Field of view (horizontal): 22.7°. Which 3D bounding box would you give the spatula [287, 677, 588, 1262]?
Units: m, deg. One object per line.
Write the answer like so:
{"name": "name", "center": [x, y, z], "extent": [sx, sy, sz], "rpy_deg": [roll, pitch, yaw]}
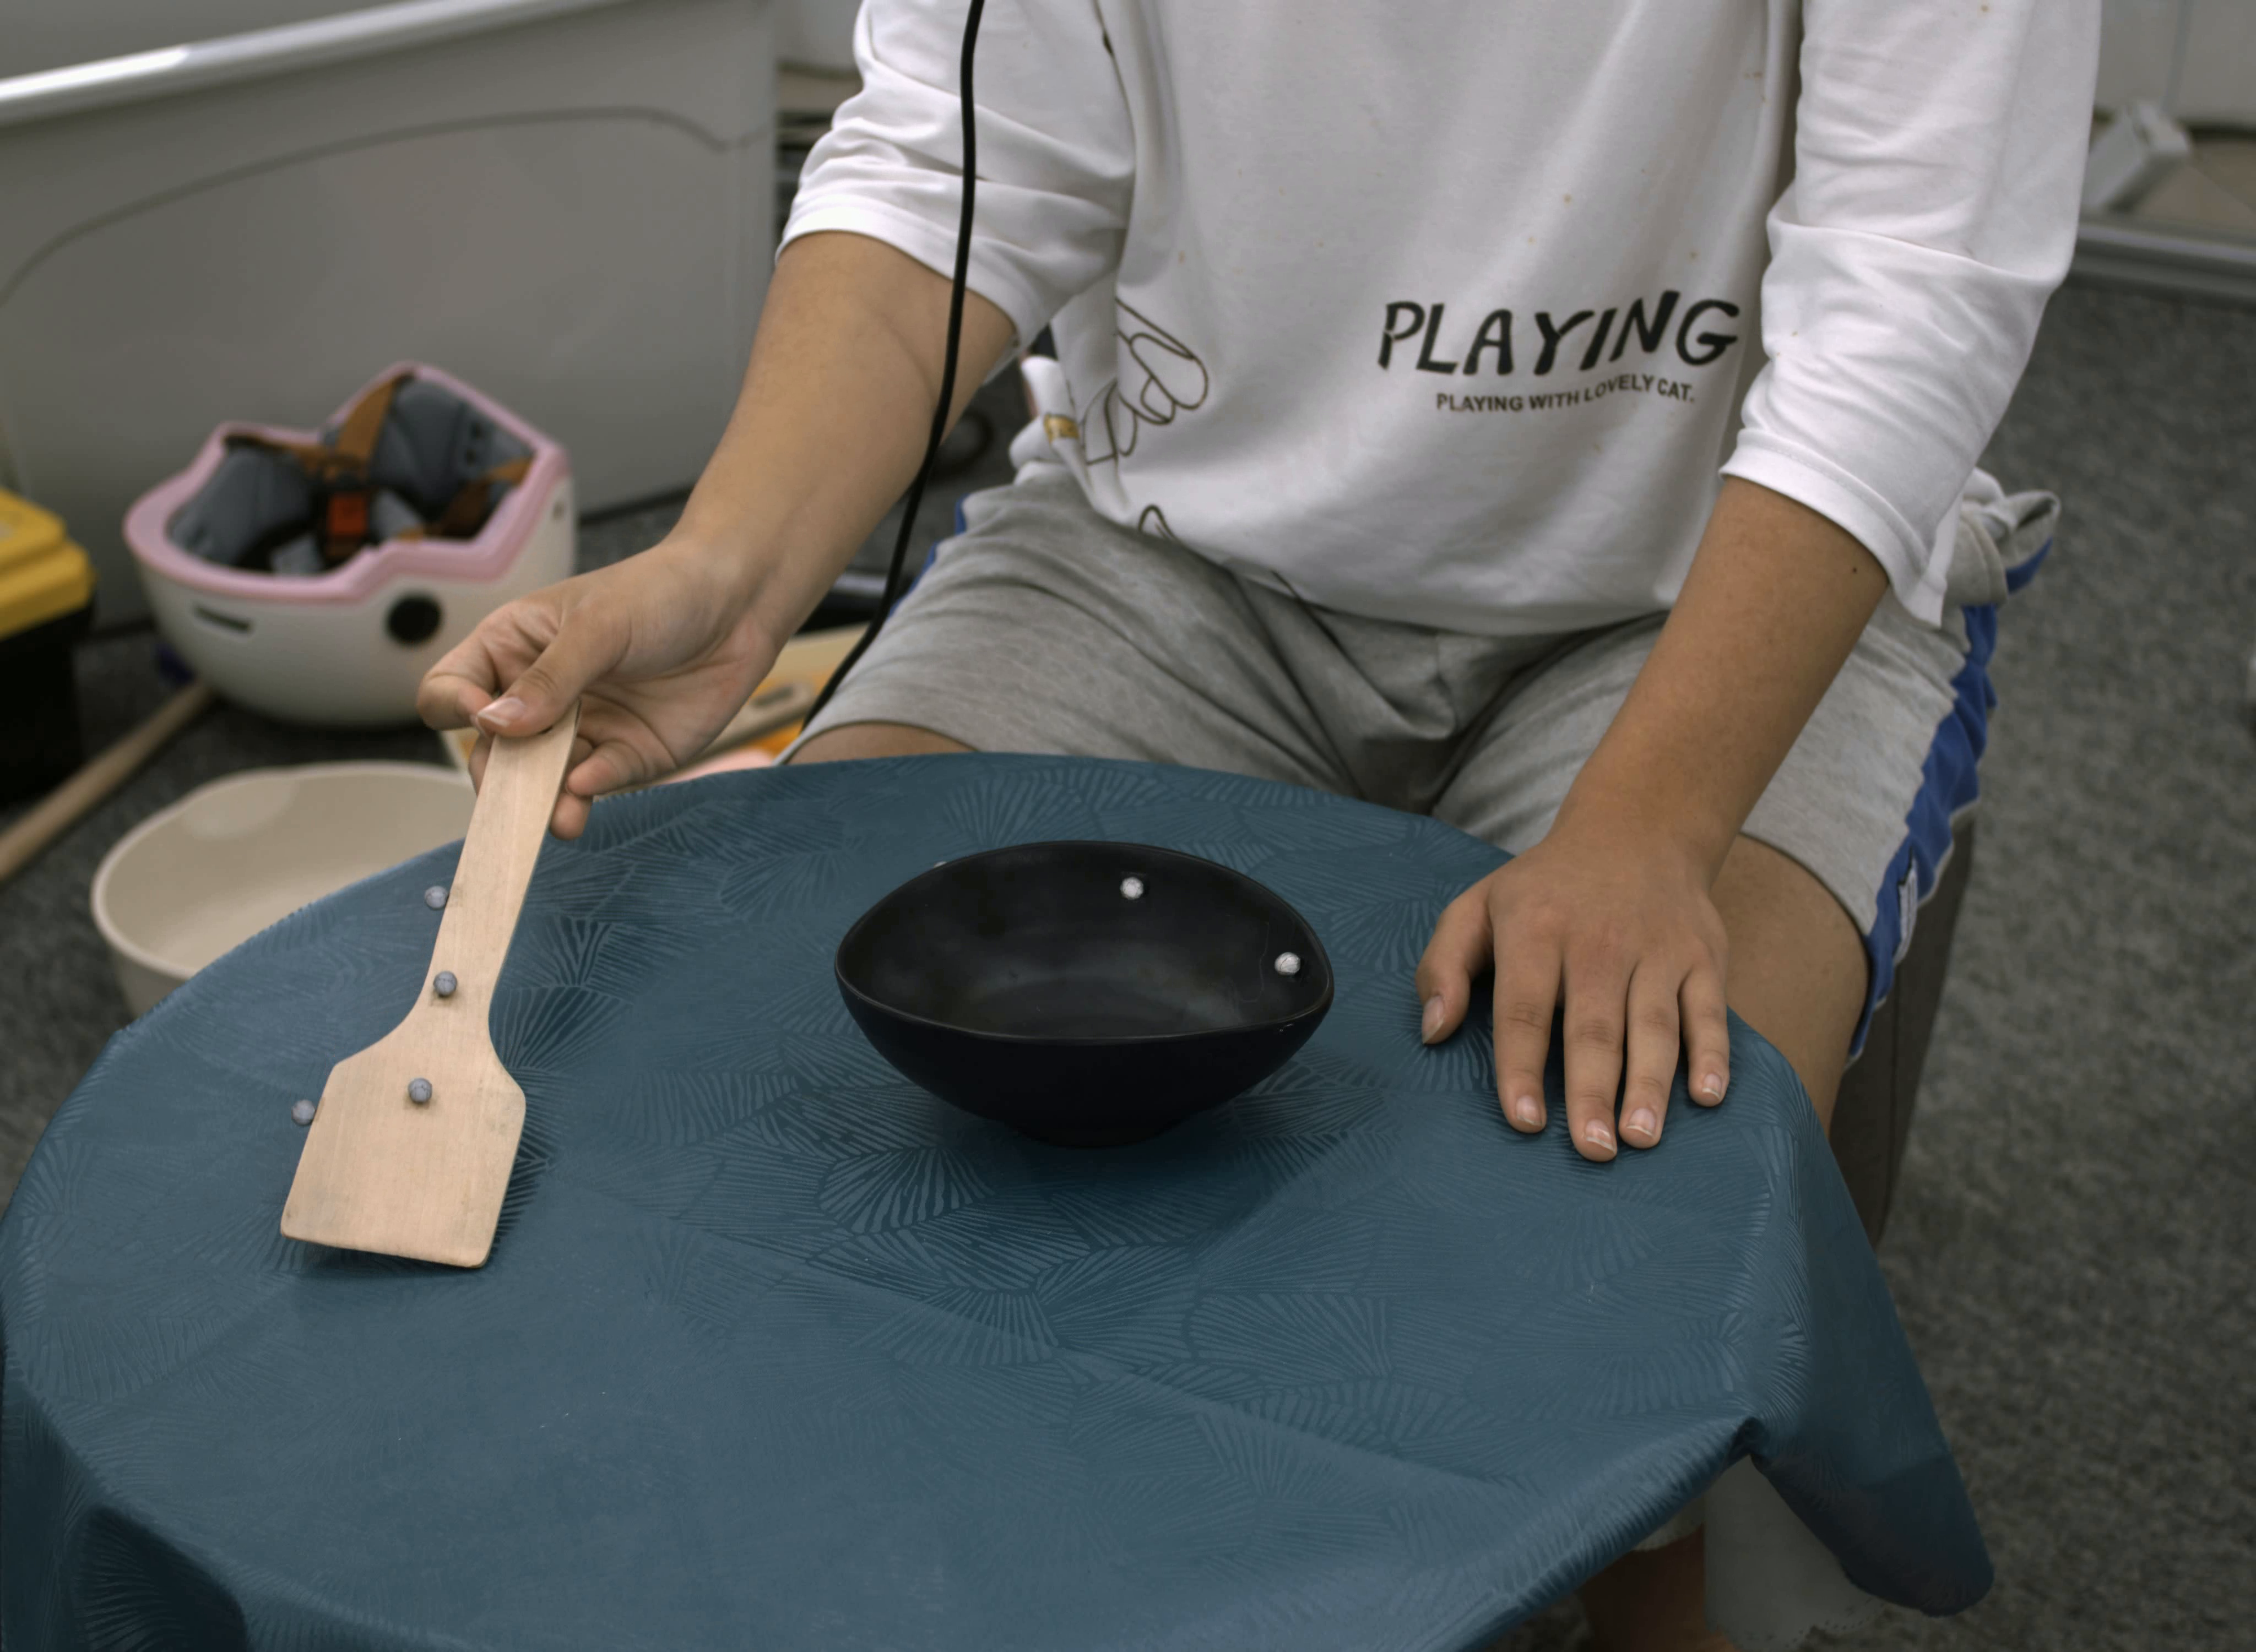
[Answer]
{"name": "spatula", "center": [-0.228, 0.044, 1.950], "extent": [0.072, 0.010, 0.299], "rpy_deg": [9, 41, 1]}

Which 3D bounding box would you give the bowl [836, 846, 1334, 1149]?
{"name": "bowl", "center": [-0.014, 0.065, 1.907], "extent": [0.169, 0.066, 0.139], "rpy_deg": [3, 27, 6]}
